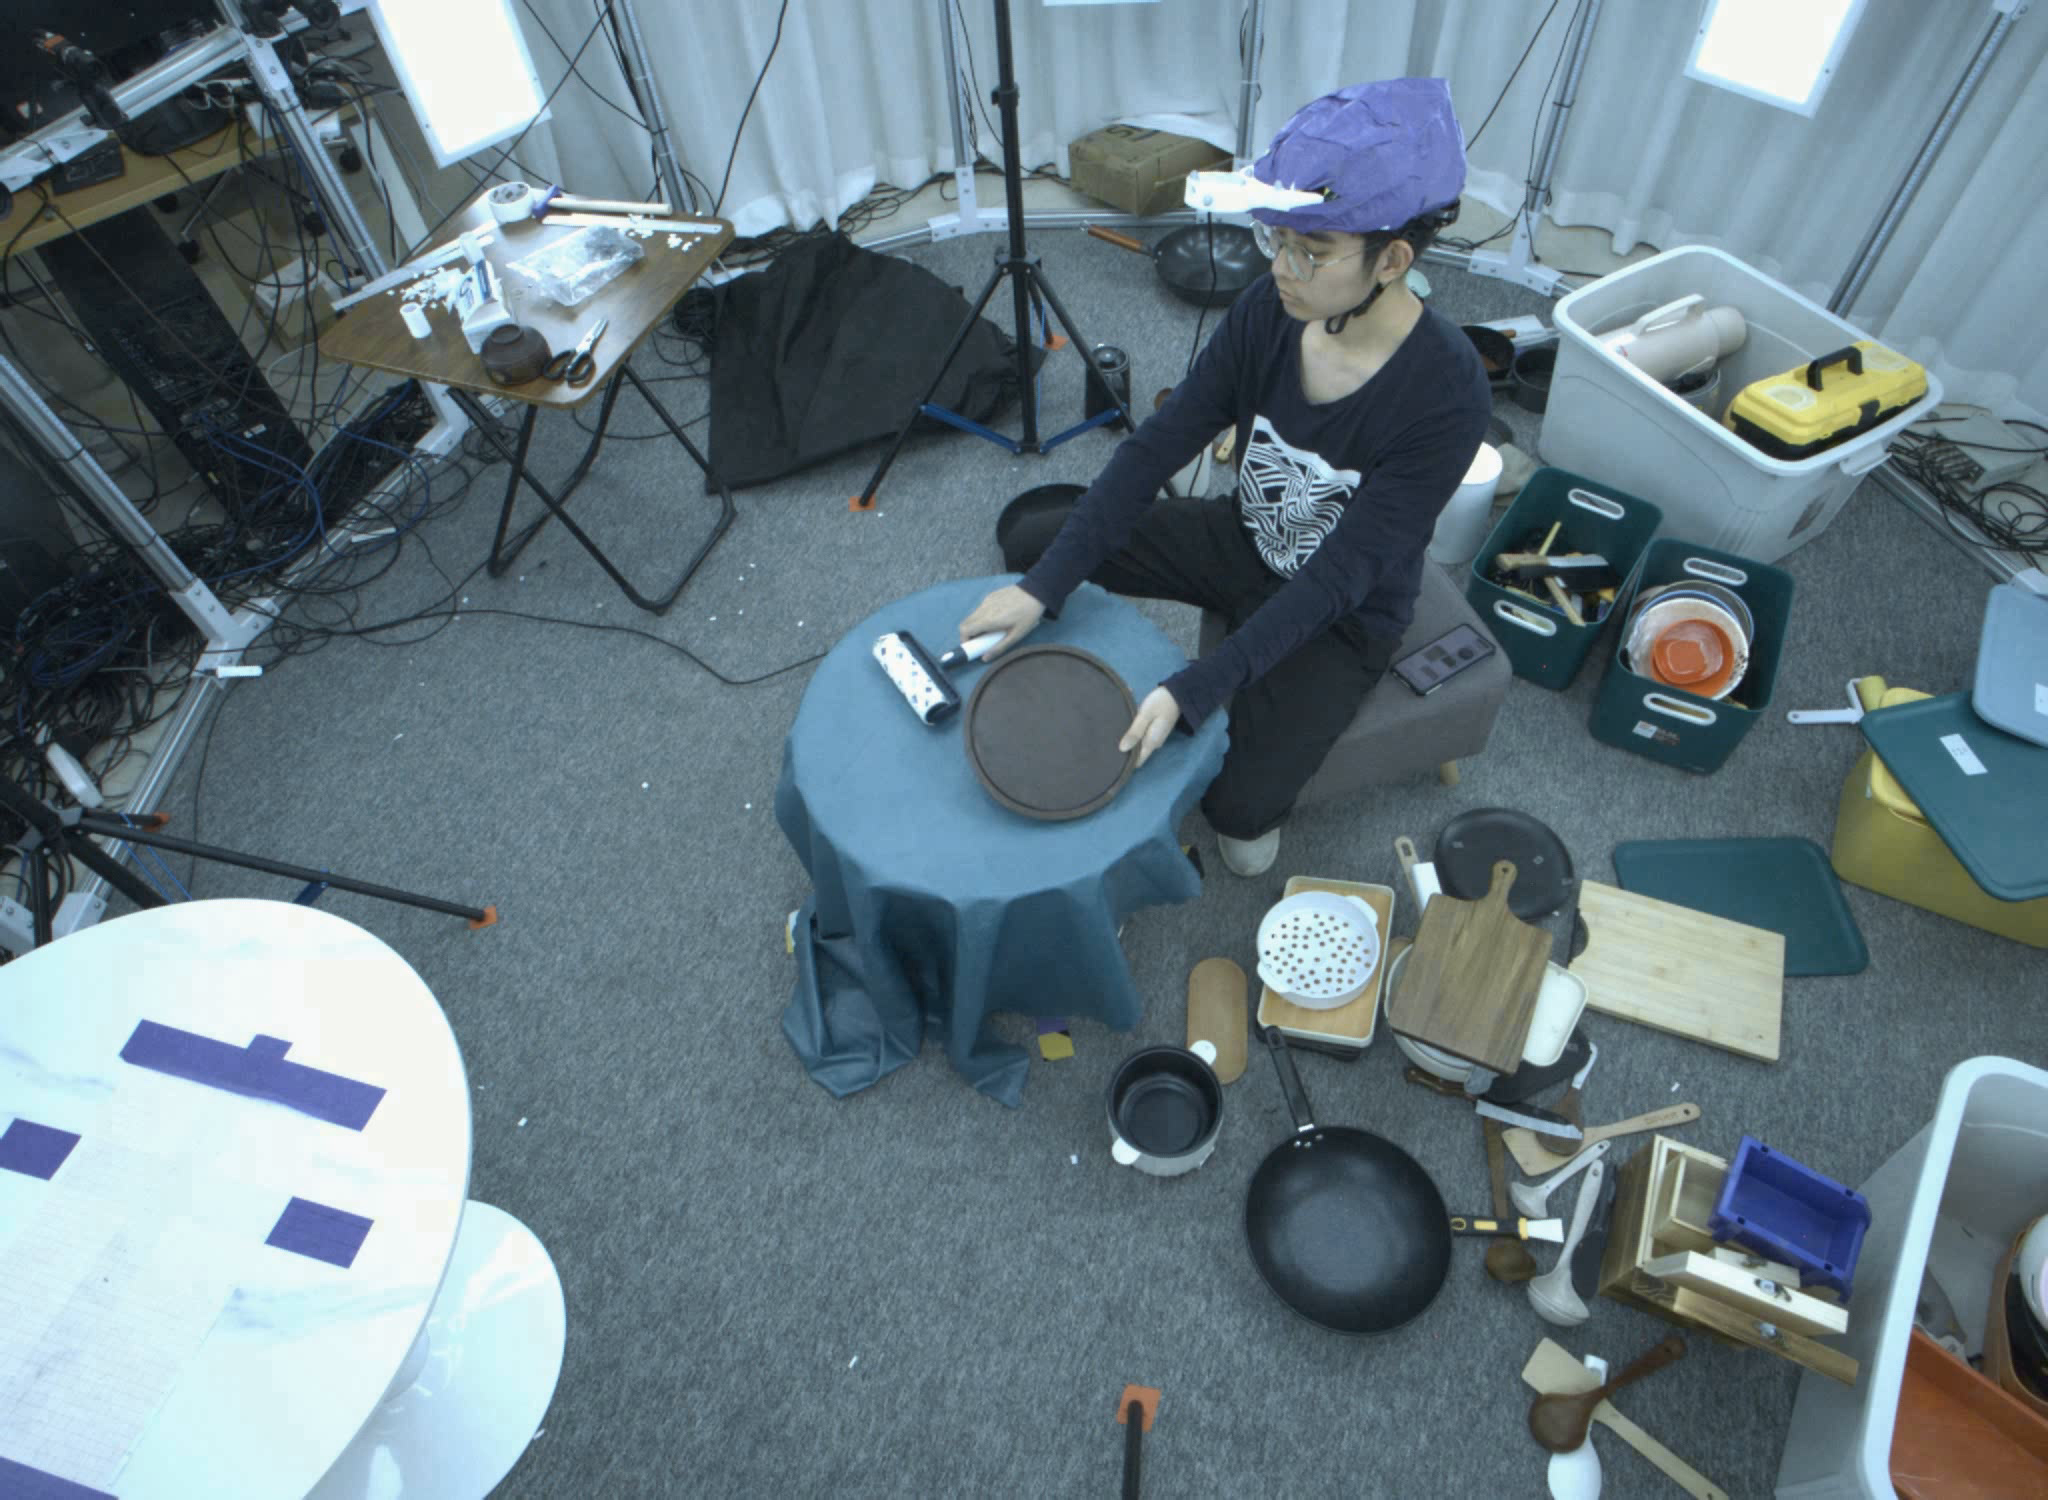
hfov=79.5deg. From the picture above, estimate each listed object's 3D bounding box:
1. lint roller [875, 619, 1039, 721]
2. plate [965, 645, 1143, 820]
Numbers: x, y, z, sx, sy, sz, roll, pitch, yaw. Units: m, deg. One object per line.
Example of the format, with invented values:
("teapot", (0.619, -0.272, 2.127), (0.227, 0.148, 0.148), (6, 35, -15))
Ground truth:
("lint roller", (-0.085, -0.153, 1.881), (0.249, 0.051, 0.173), (-27, 56, -20))
("plate", (0.042, -0.025, 1.737), (0.257, 0.029, 0.253), (2, 80, -10))
